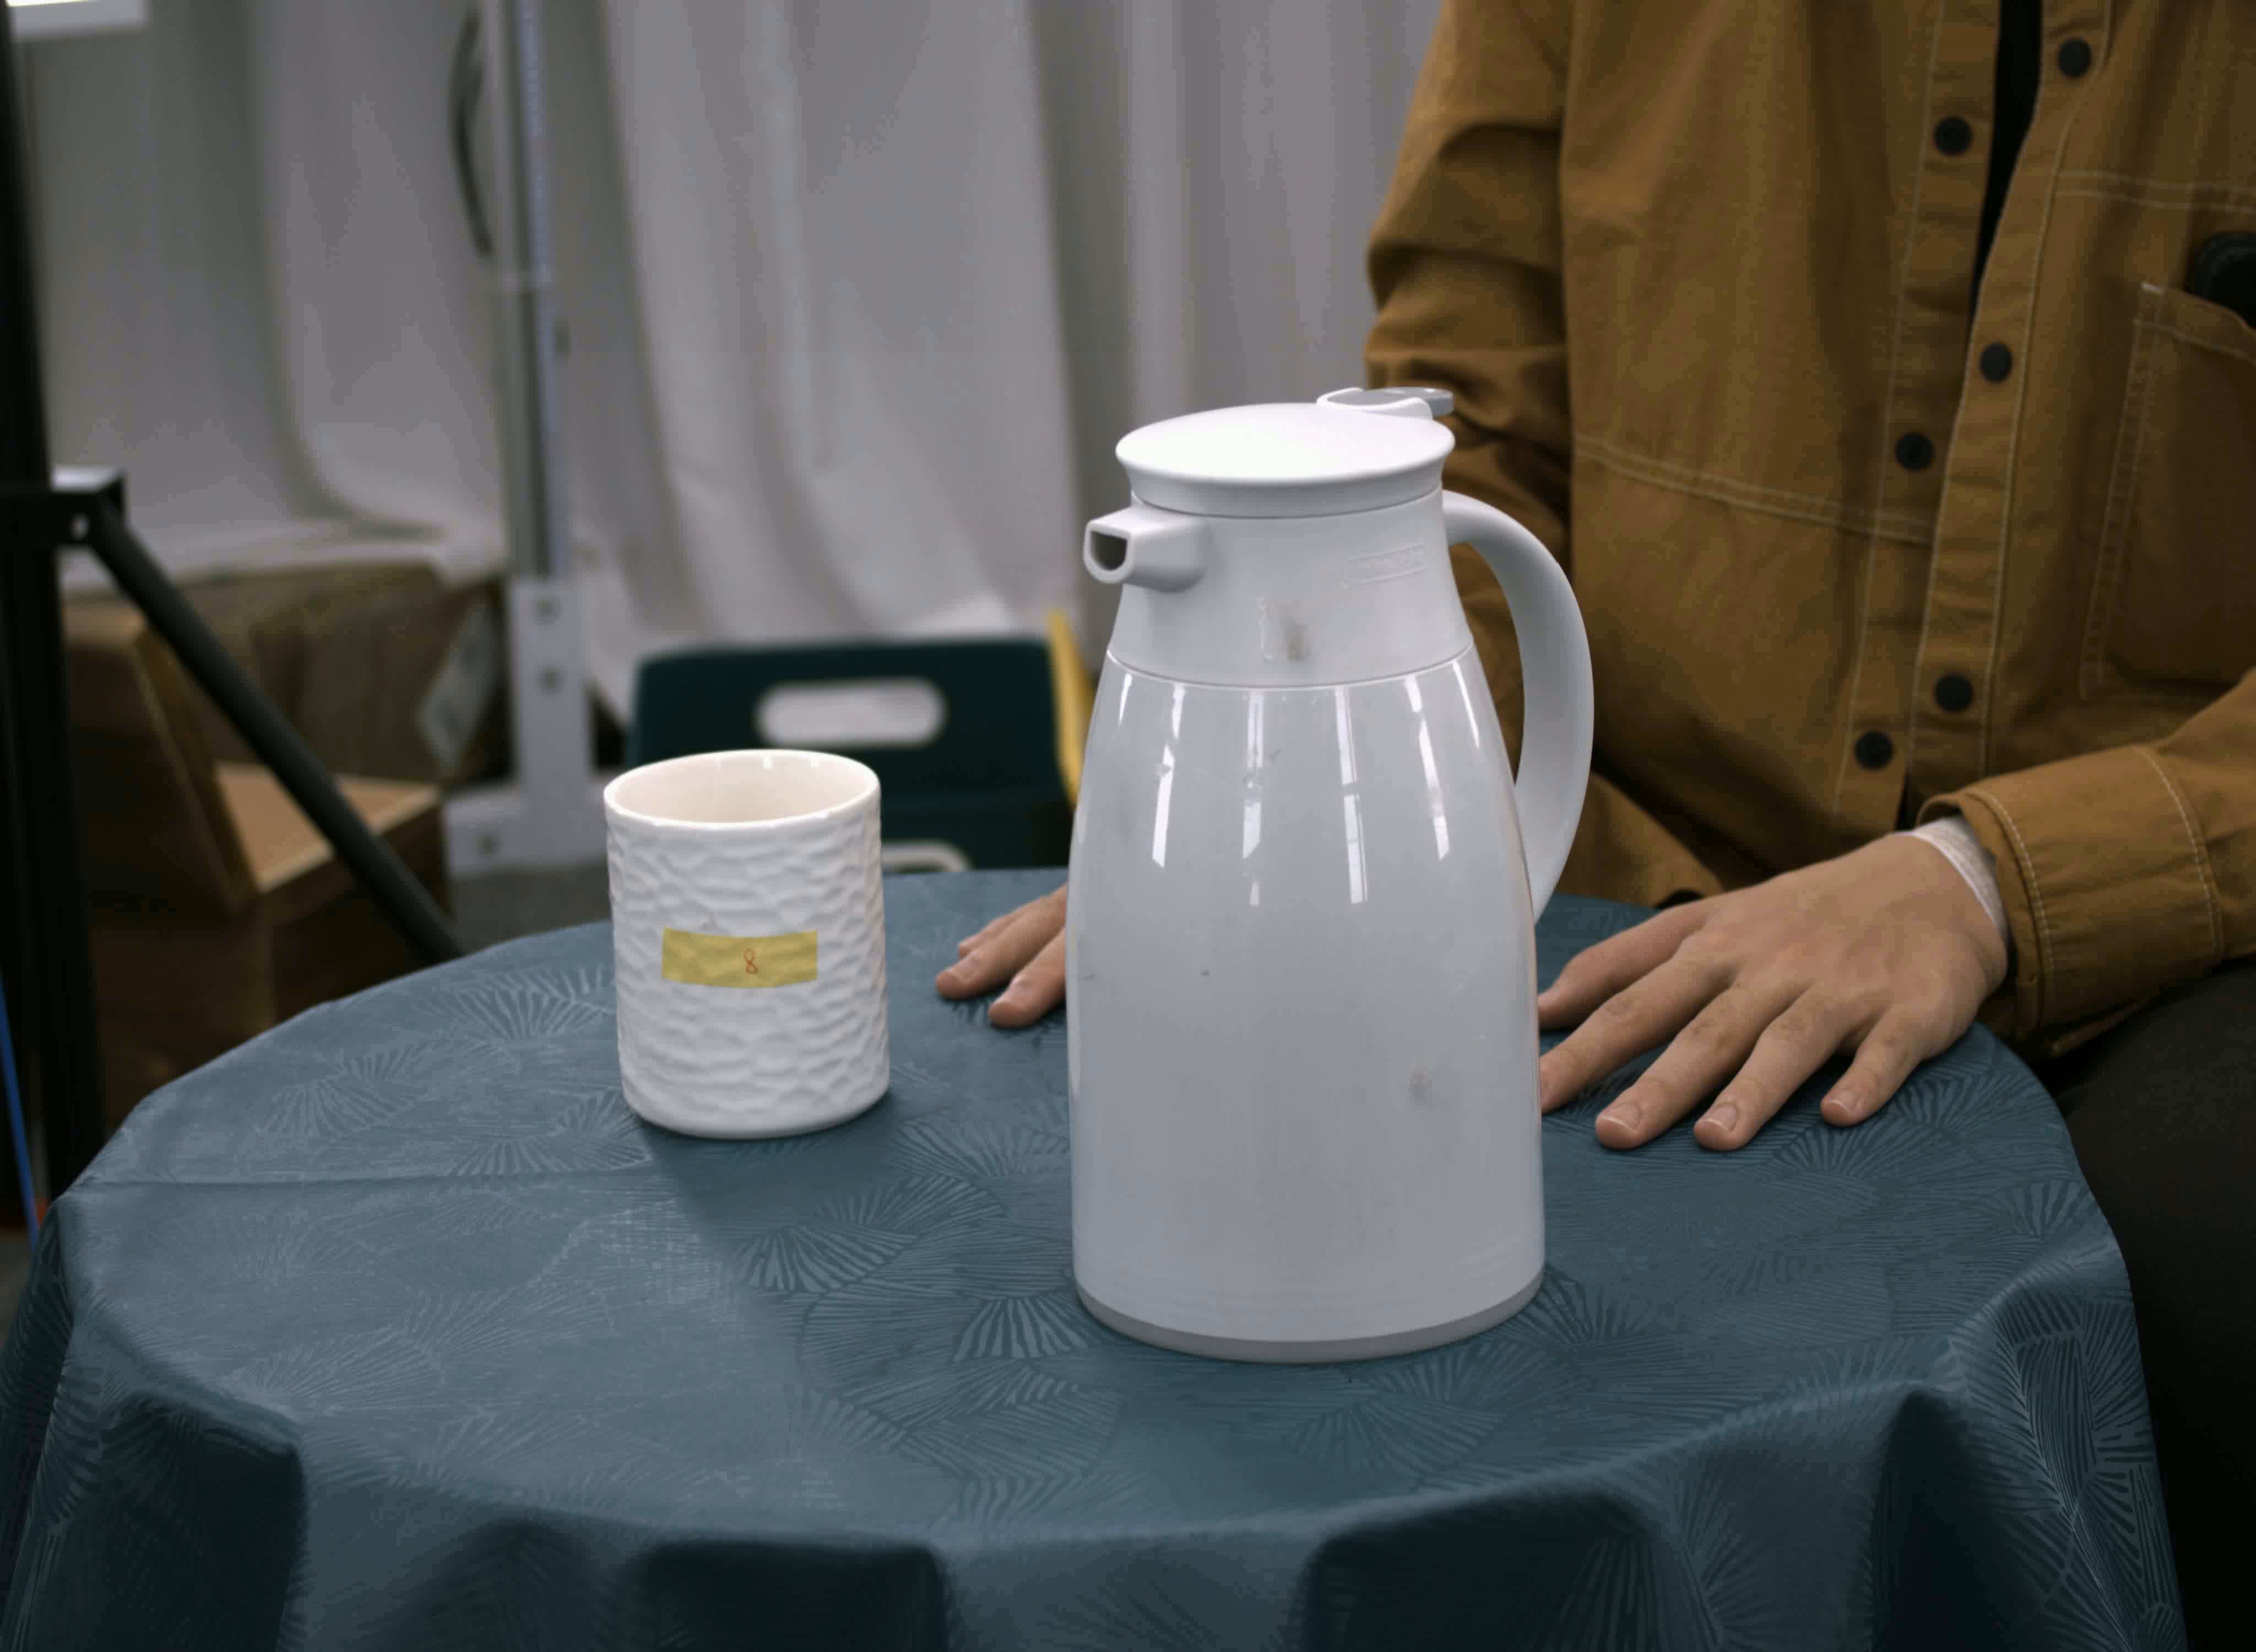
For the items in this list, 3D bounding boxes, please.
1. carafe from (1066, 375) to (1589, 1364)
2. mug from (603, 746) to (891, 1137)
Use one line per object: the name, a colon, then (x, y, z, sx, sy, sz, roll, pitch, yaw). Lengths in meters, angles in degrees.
carafe: (0.060, 0.004, 1.459, 0.164, 0.248, 0.135, -13, 18, -37)
mug: (-0.111, 0.031, 1.655, 0.086, 0.102, 0.117, 4, 17, 22)
